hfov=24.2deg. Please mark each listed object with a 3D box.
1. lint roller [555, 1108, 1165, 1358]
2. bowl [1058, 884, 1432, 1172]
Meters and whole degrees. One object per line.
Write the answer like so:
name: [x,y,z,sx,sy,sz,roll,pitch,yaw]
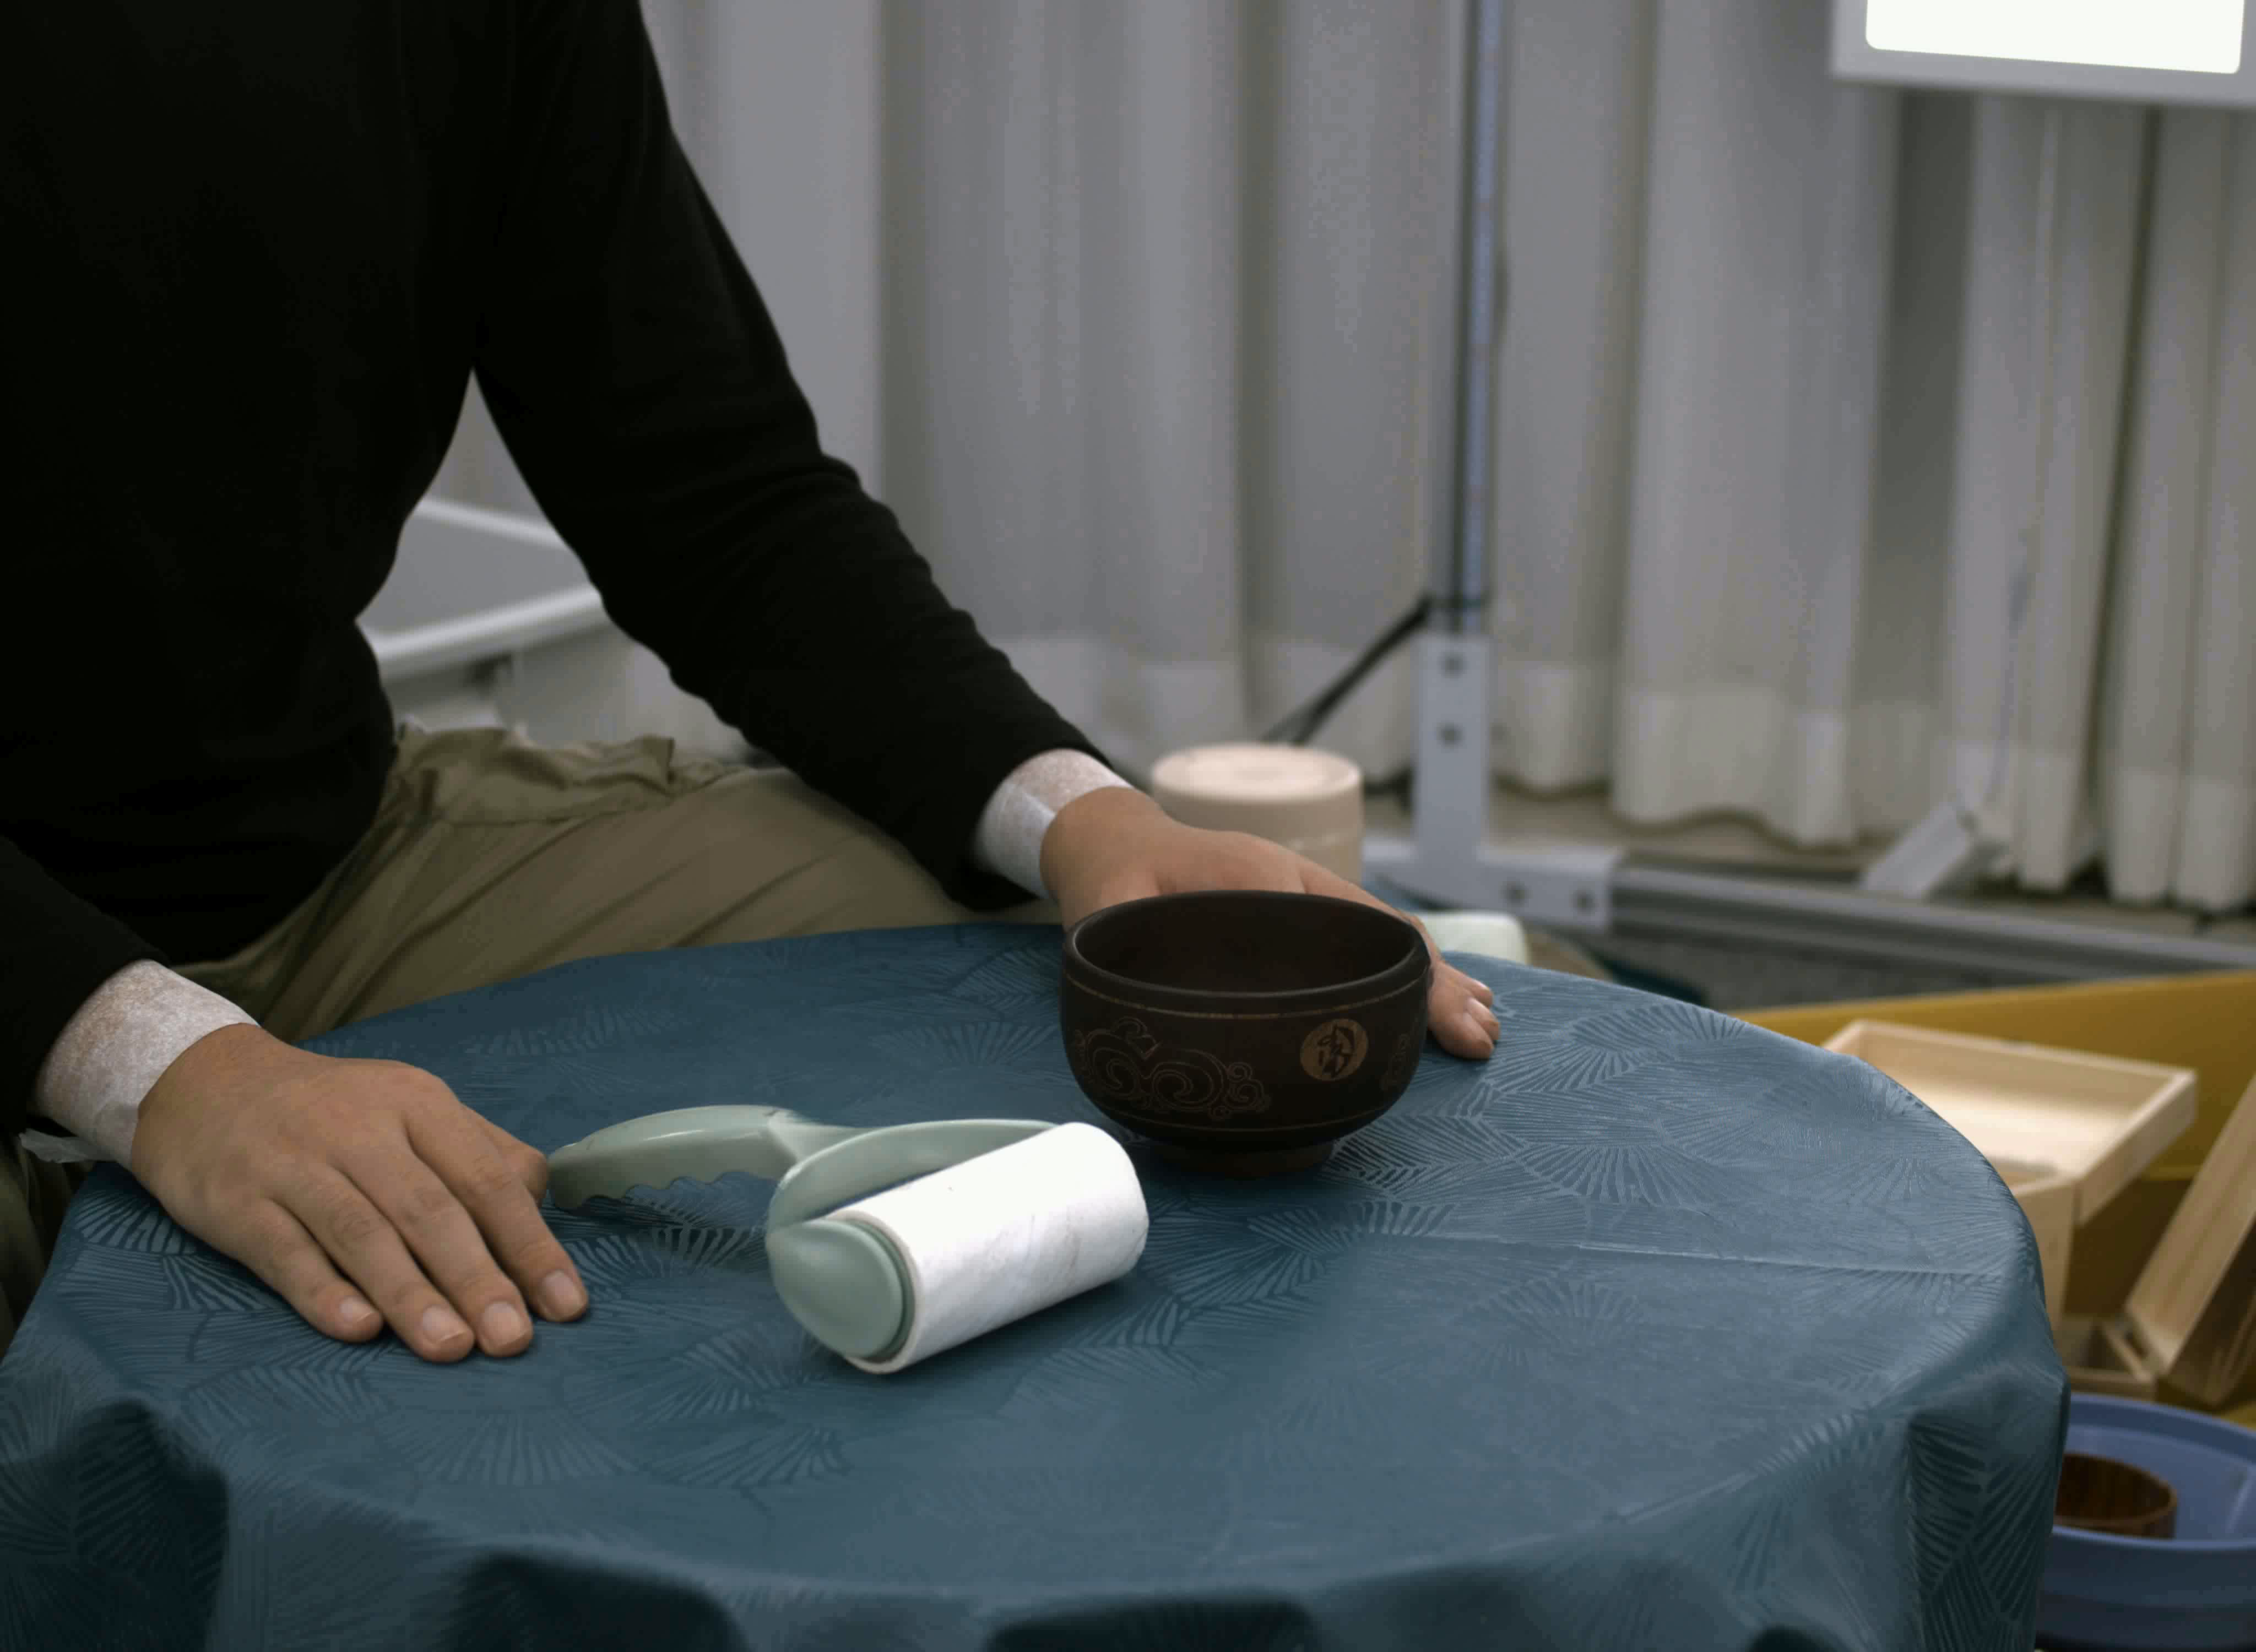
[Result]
lint roller: [-0.094,0.107,1.553,0.195,0.049,0.117,10,19,38]
bowl: [0.037,0.067,1.651,0.117,0.070,0.117,-1,16,1]
